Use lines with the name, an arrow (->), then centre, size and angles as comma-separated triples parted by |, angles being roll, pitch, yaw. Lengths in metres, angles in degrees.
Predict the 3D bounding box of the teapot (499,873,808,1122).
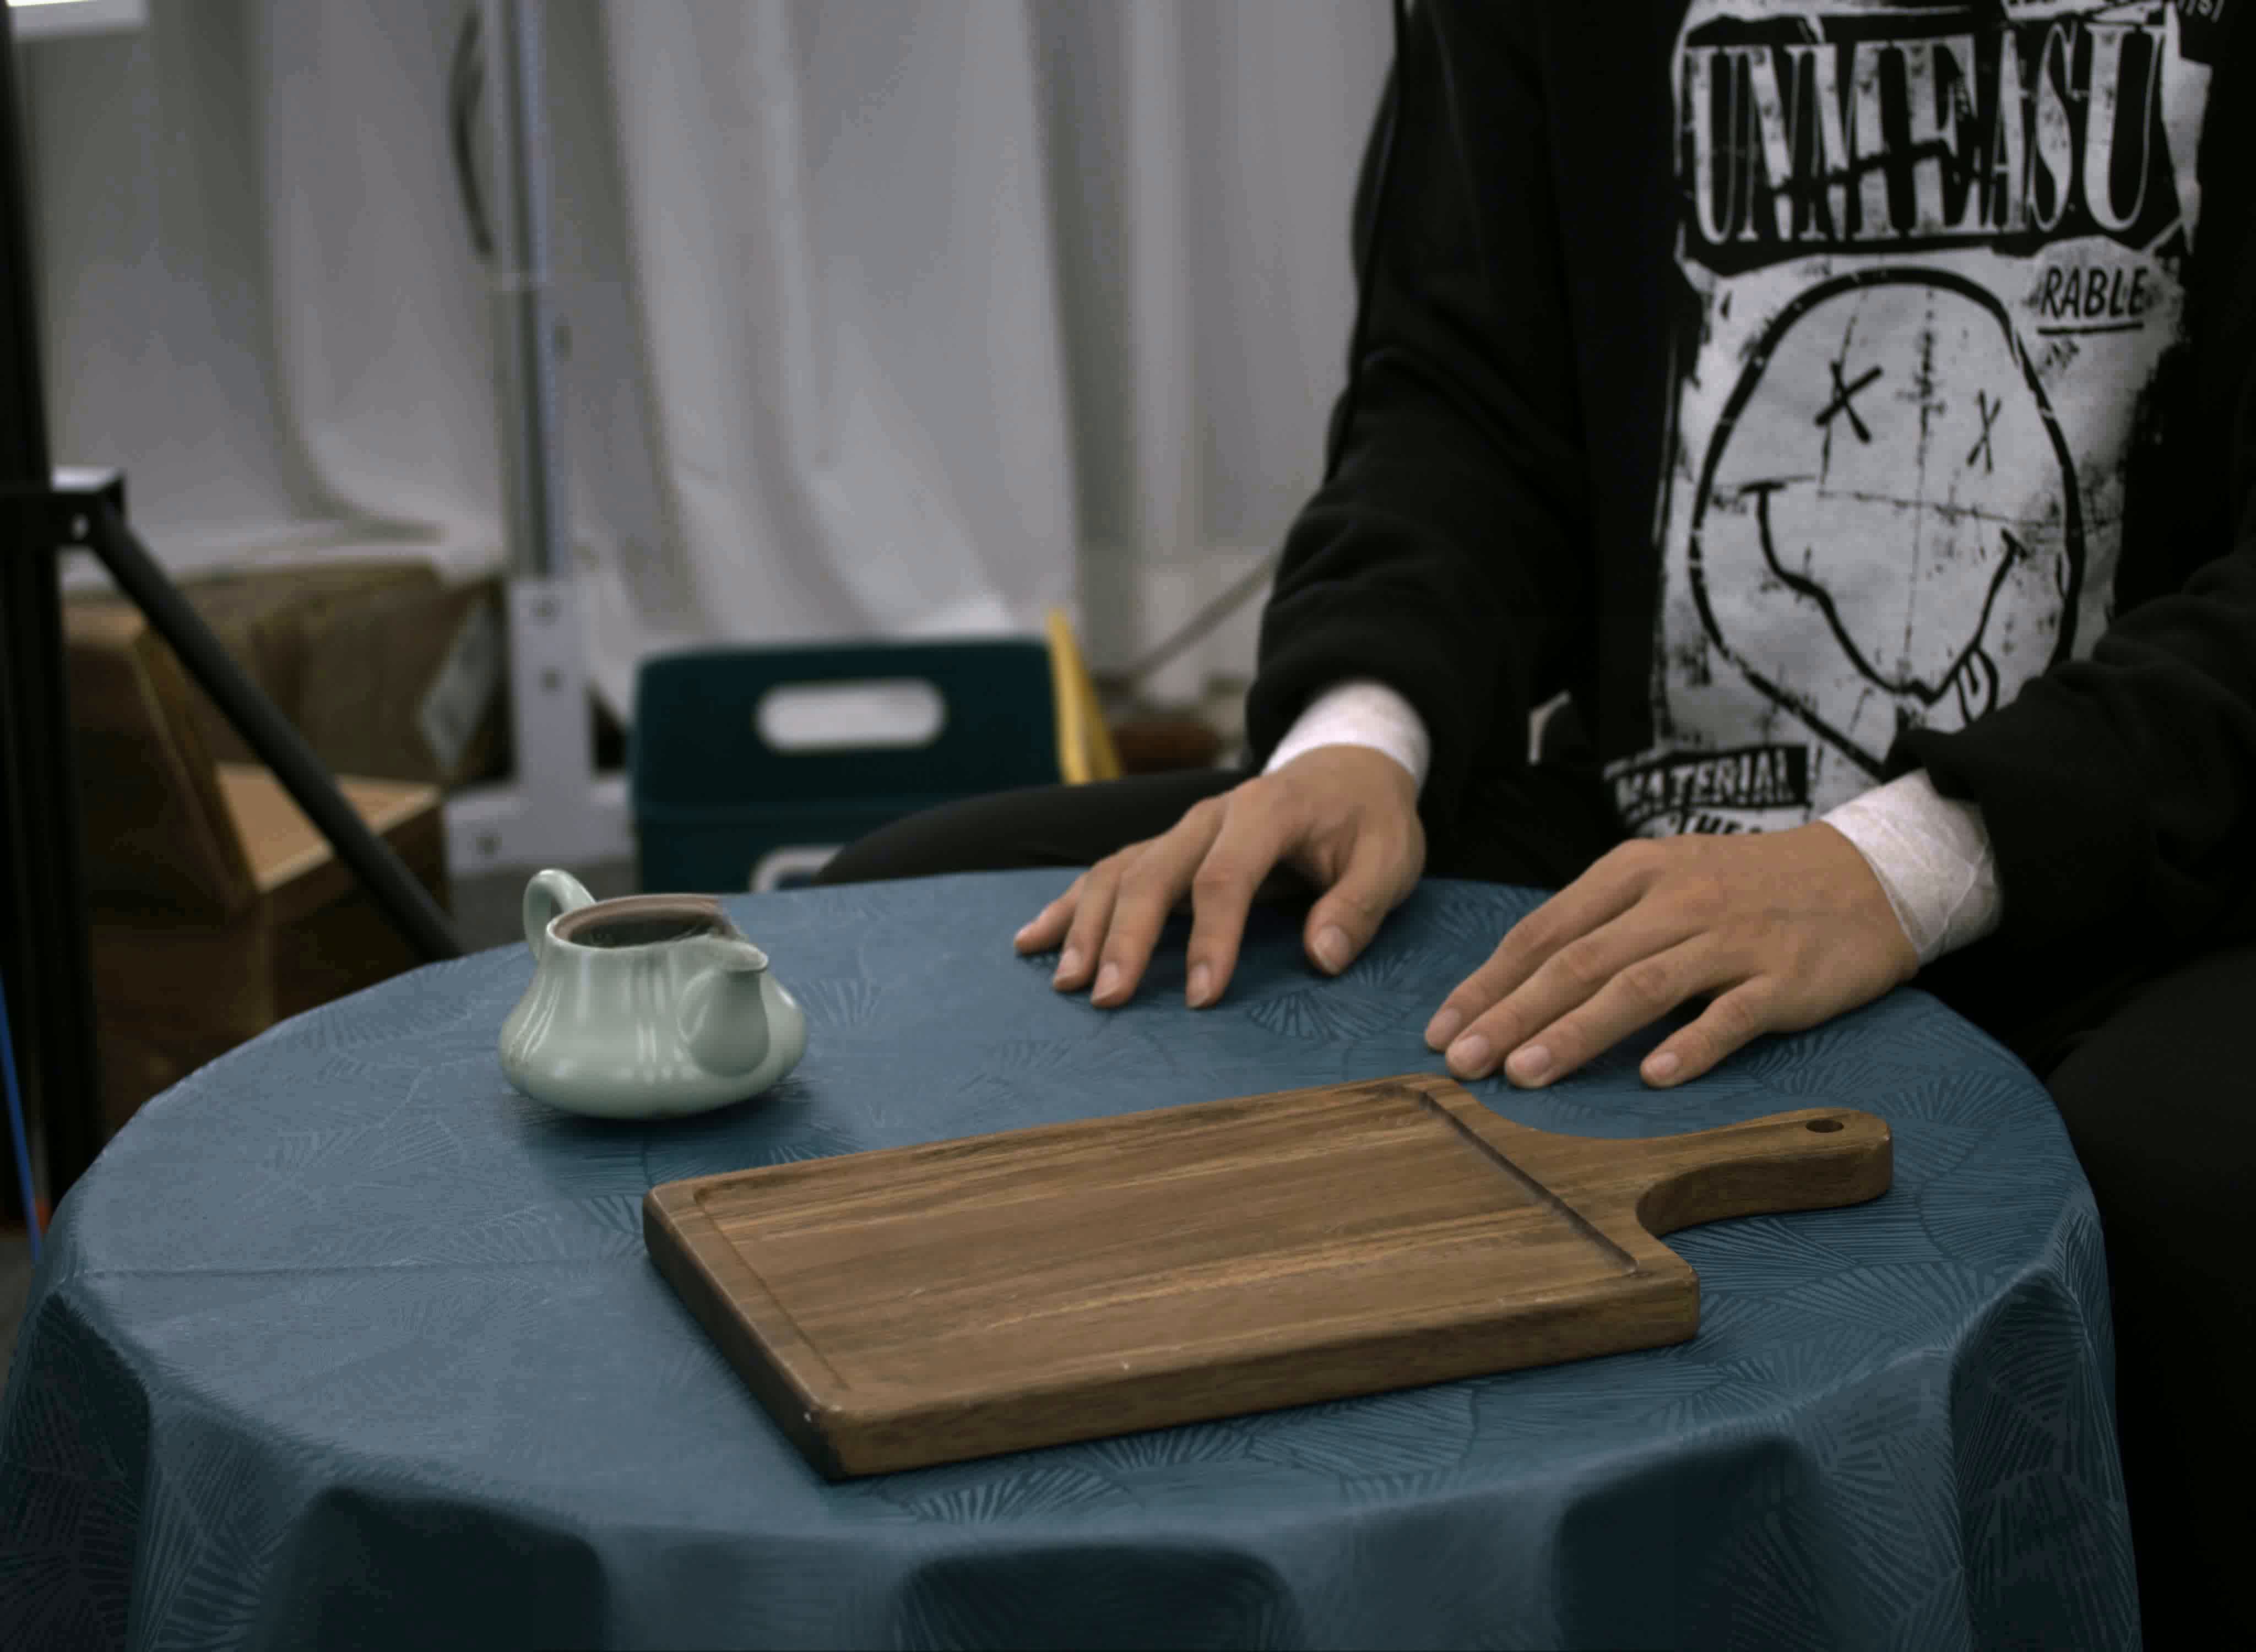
teapot -> -0.151, 0.054, 1.660 | 0.094, 0.061, 0.140 | -16, 20, -36

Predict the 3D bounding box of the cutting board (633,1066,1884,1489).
cutting board -> 0.054, 0.114, 1.484 | 0.346, 0.023, 0.204 | -8, 17, -17
